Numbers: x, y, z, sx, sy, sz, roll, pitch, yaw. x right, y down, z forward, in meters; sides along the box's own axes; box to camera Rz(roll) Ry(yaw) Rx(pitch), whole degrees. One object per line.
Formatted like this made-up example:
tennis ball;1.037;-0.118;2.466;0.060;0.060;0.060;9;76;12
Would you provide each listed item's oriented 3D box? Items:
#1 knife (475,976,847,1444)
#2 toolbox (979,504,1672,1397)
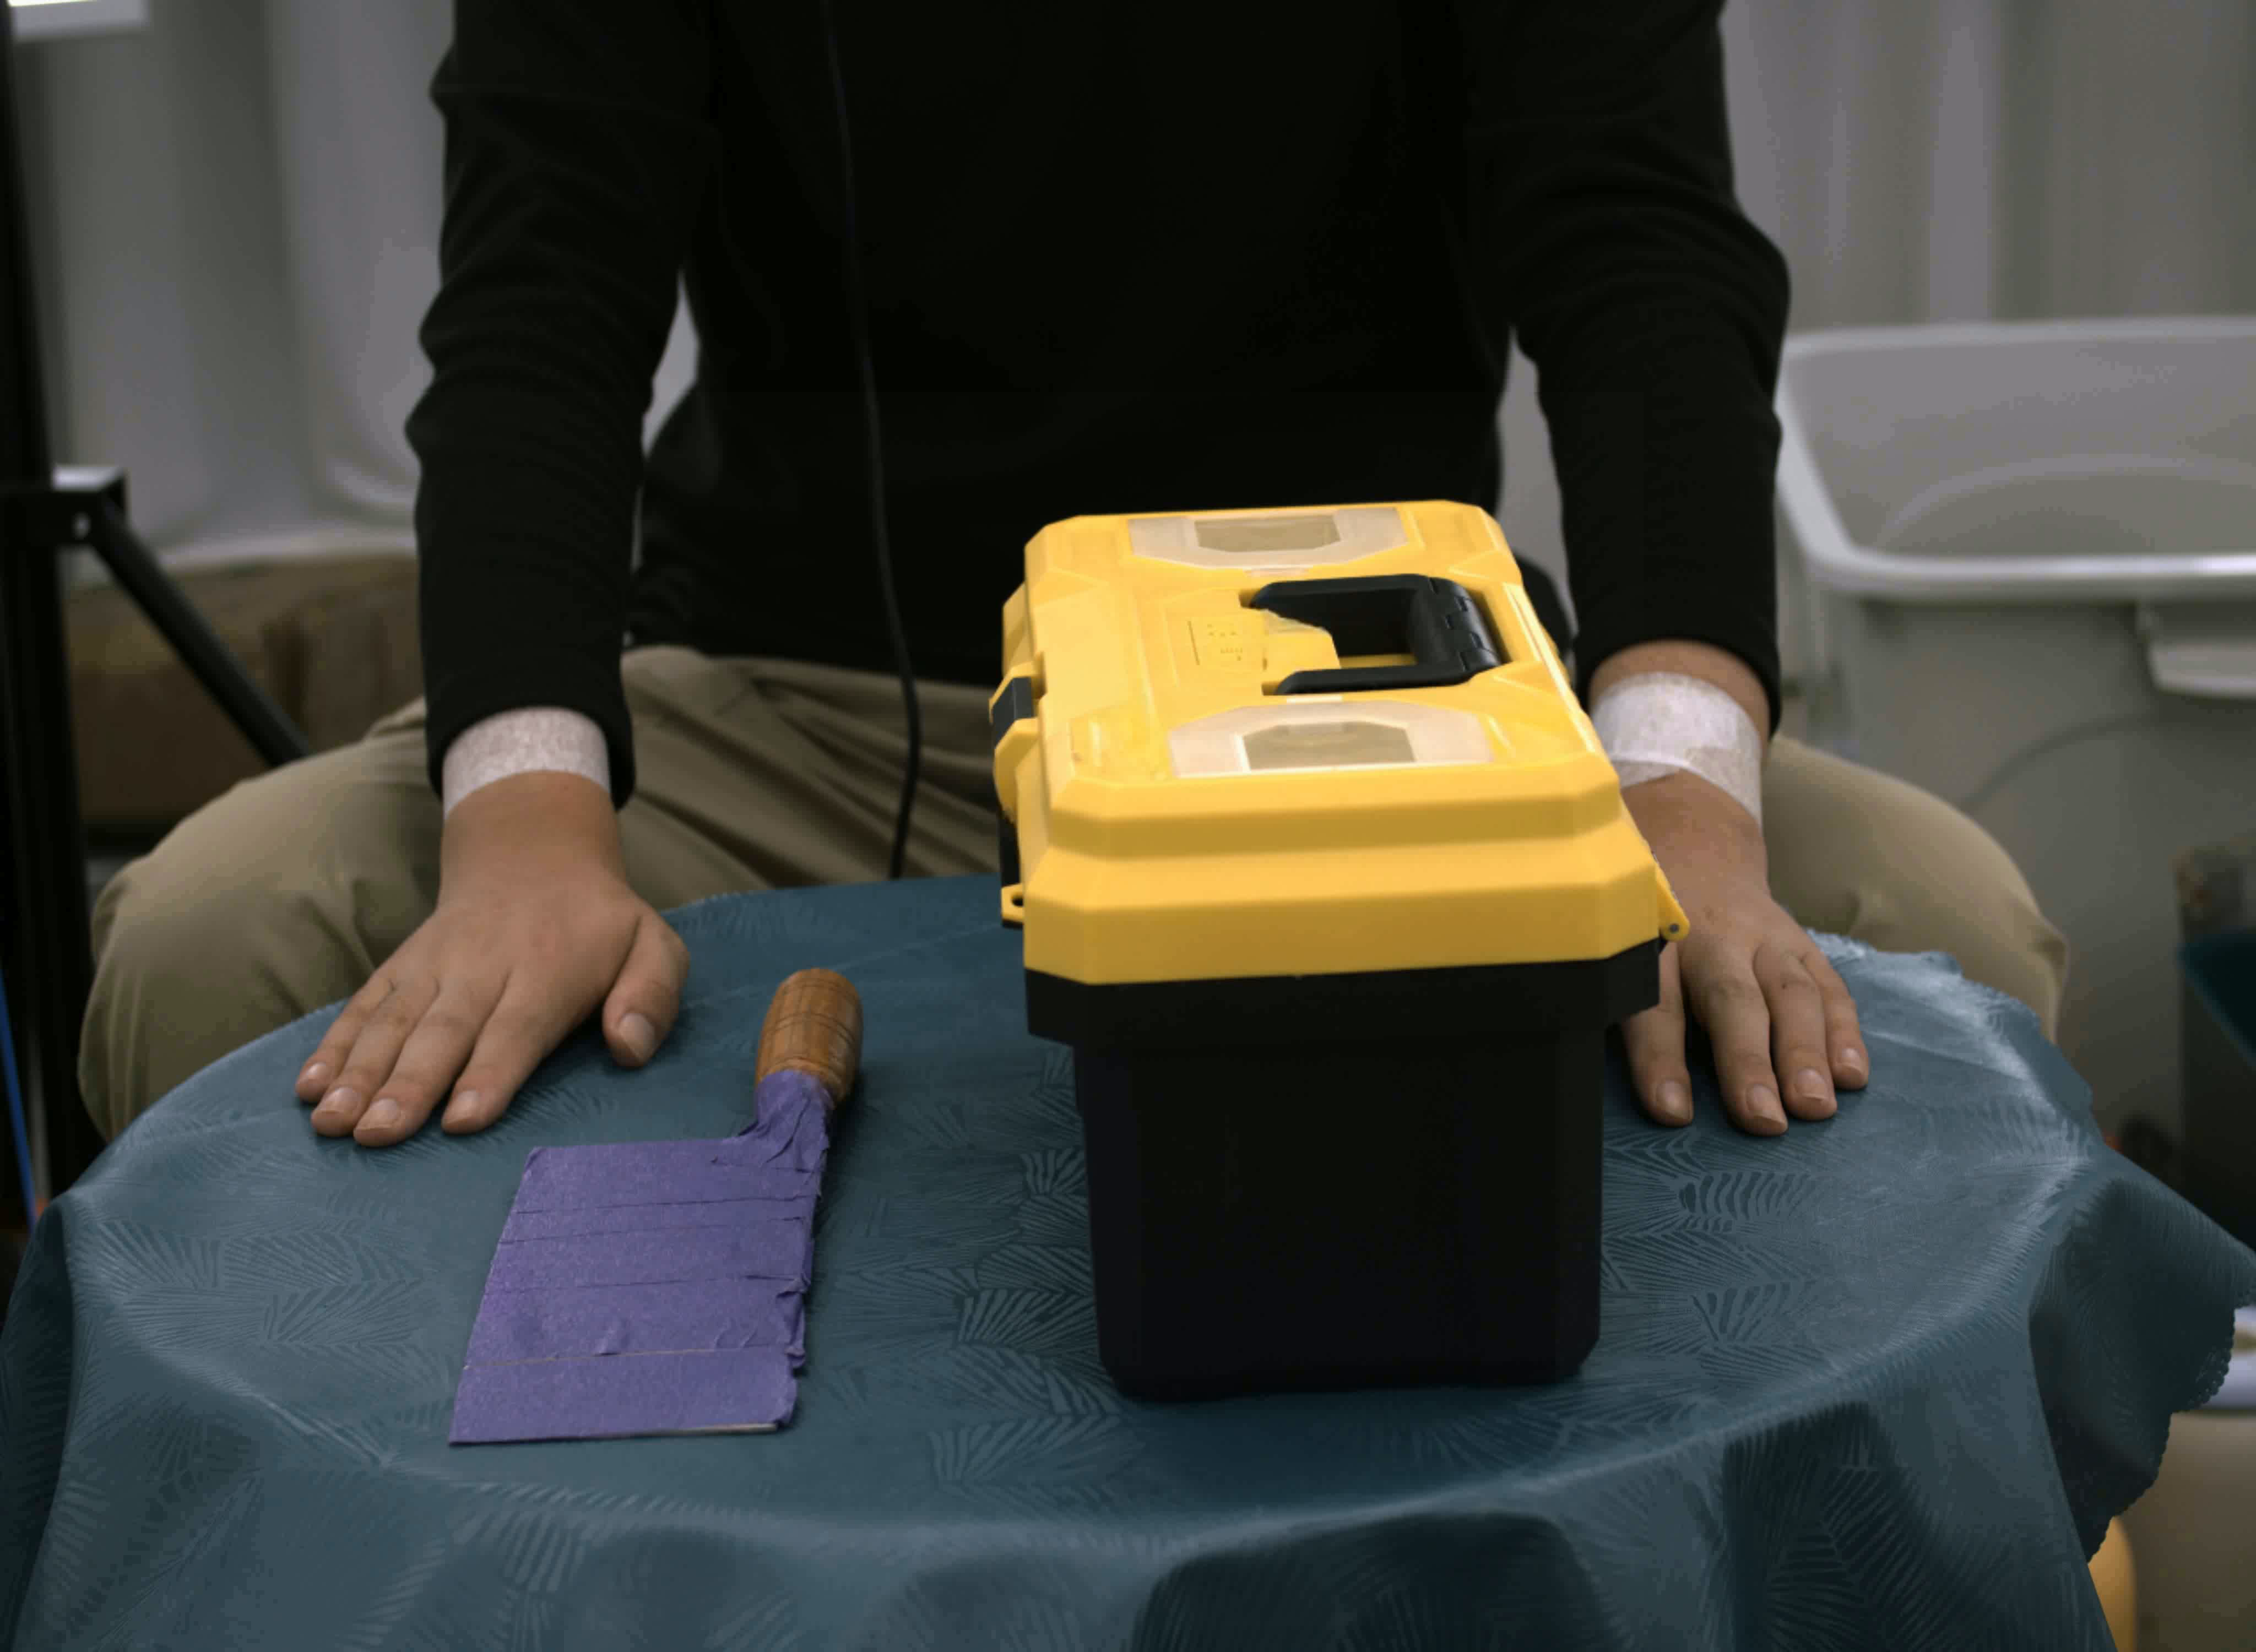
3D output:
knife;-0.131;0.106;1.535;0.103;0.032;0.316;-2;16;0
toolbox;0.050;0.026;1.521;0.180;0.173;0.353;-2;15;-1
